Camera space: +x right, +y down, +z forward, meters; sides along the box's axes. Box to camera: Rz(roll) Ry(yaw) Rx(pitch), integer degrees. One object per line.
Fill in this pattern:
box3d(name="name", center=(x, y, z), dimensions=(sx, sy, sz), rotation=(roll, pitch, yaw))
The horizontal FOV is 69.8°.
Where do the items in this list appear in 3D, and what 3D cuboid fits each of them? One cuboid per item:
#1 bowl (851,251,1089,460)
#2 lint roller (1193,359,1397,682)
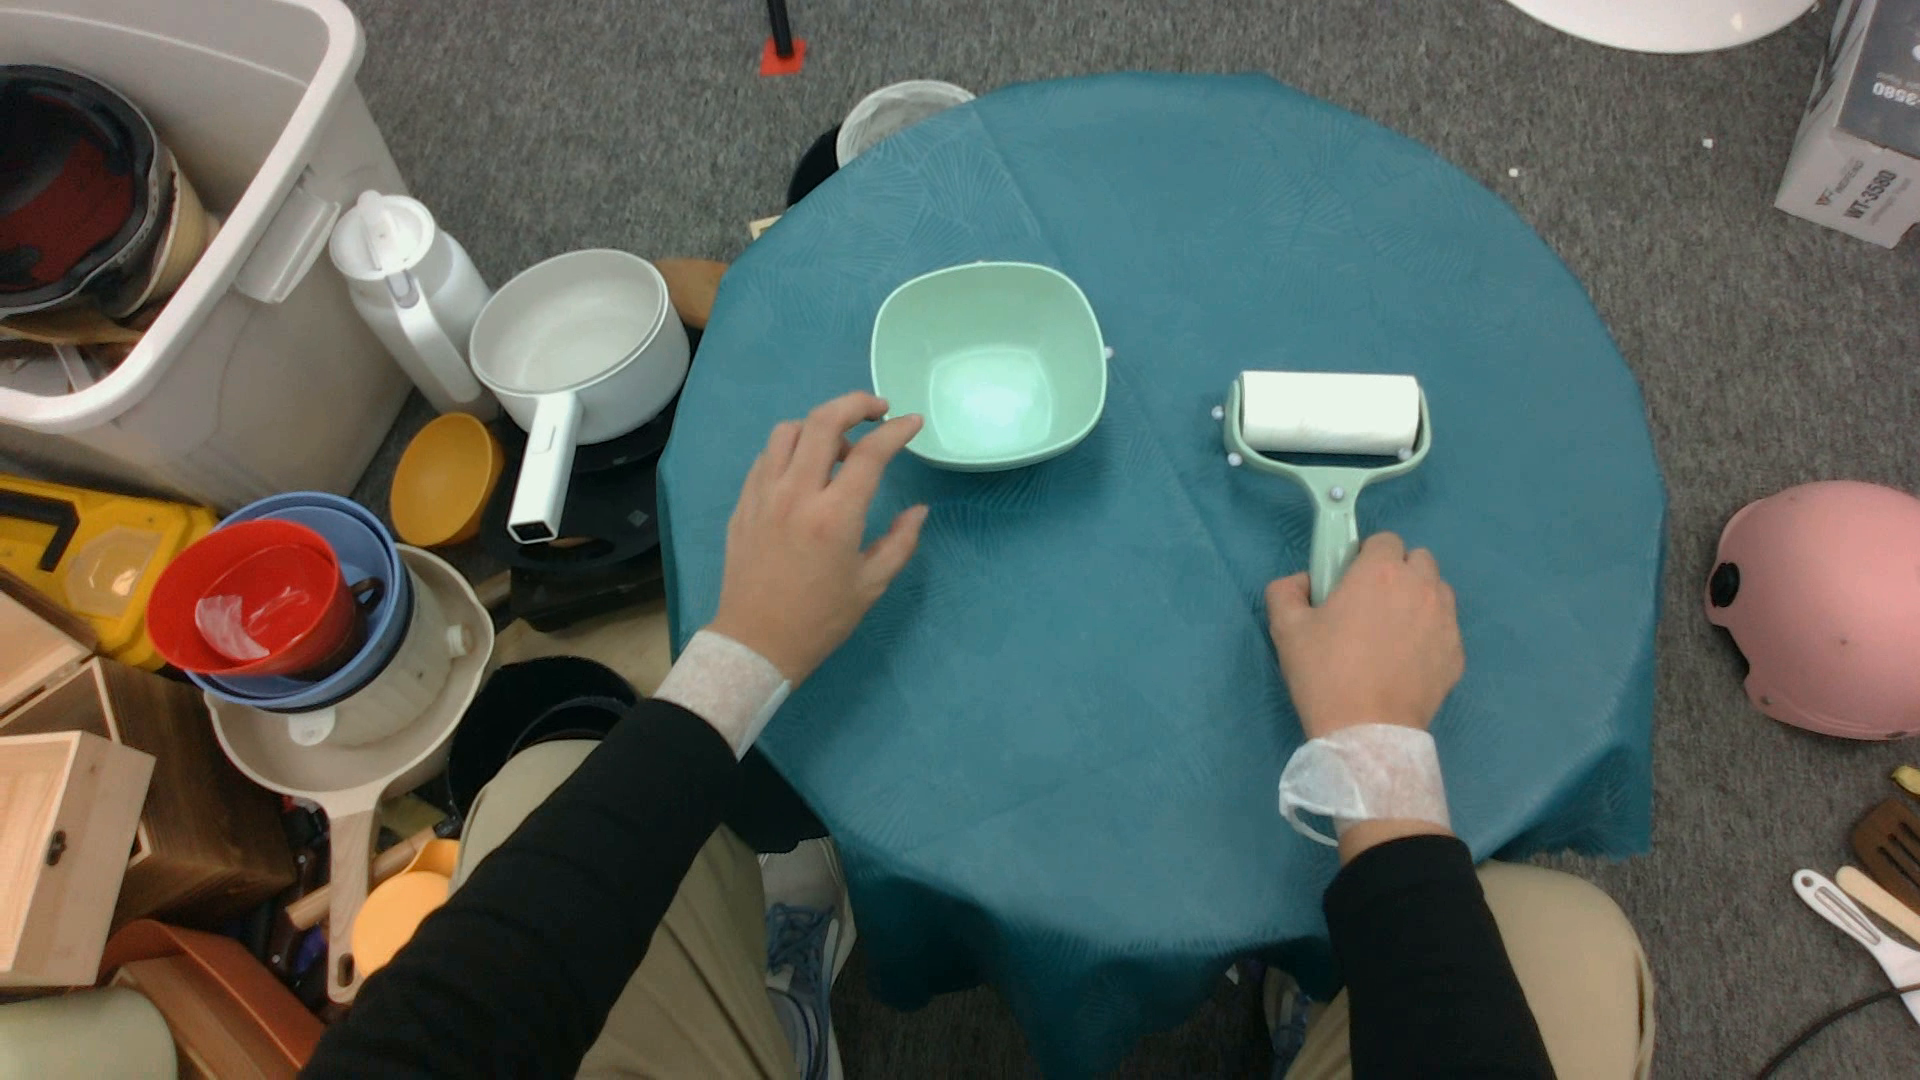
box3d(name="bowl", center=(0.006, -0.102, 0.834), dimensions=(0.151, 0.058, 0.152), rotation=(0, 64, 1))
box3d(name="lint roller", center=(0.196, -0.017, 0.797), dimensions=(0.116, 0.048, 0.198), rotation=(2, 66, 0))
